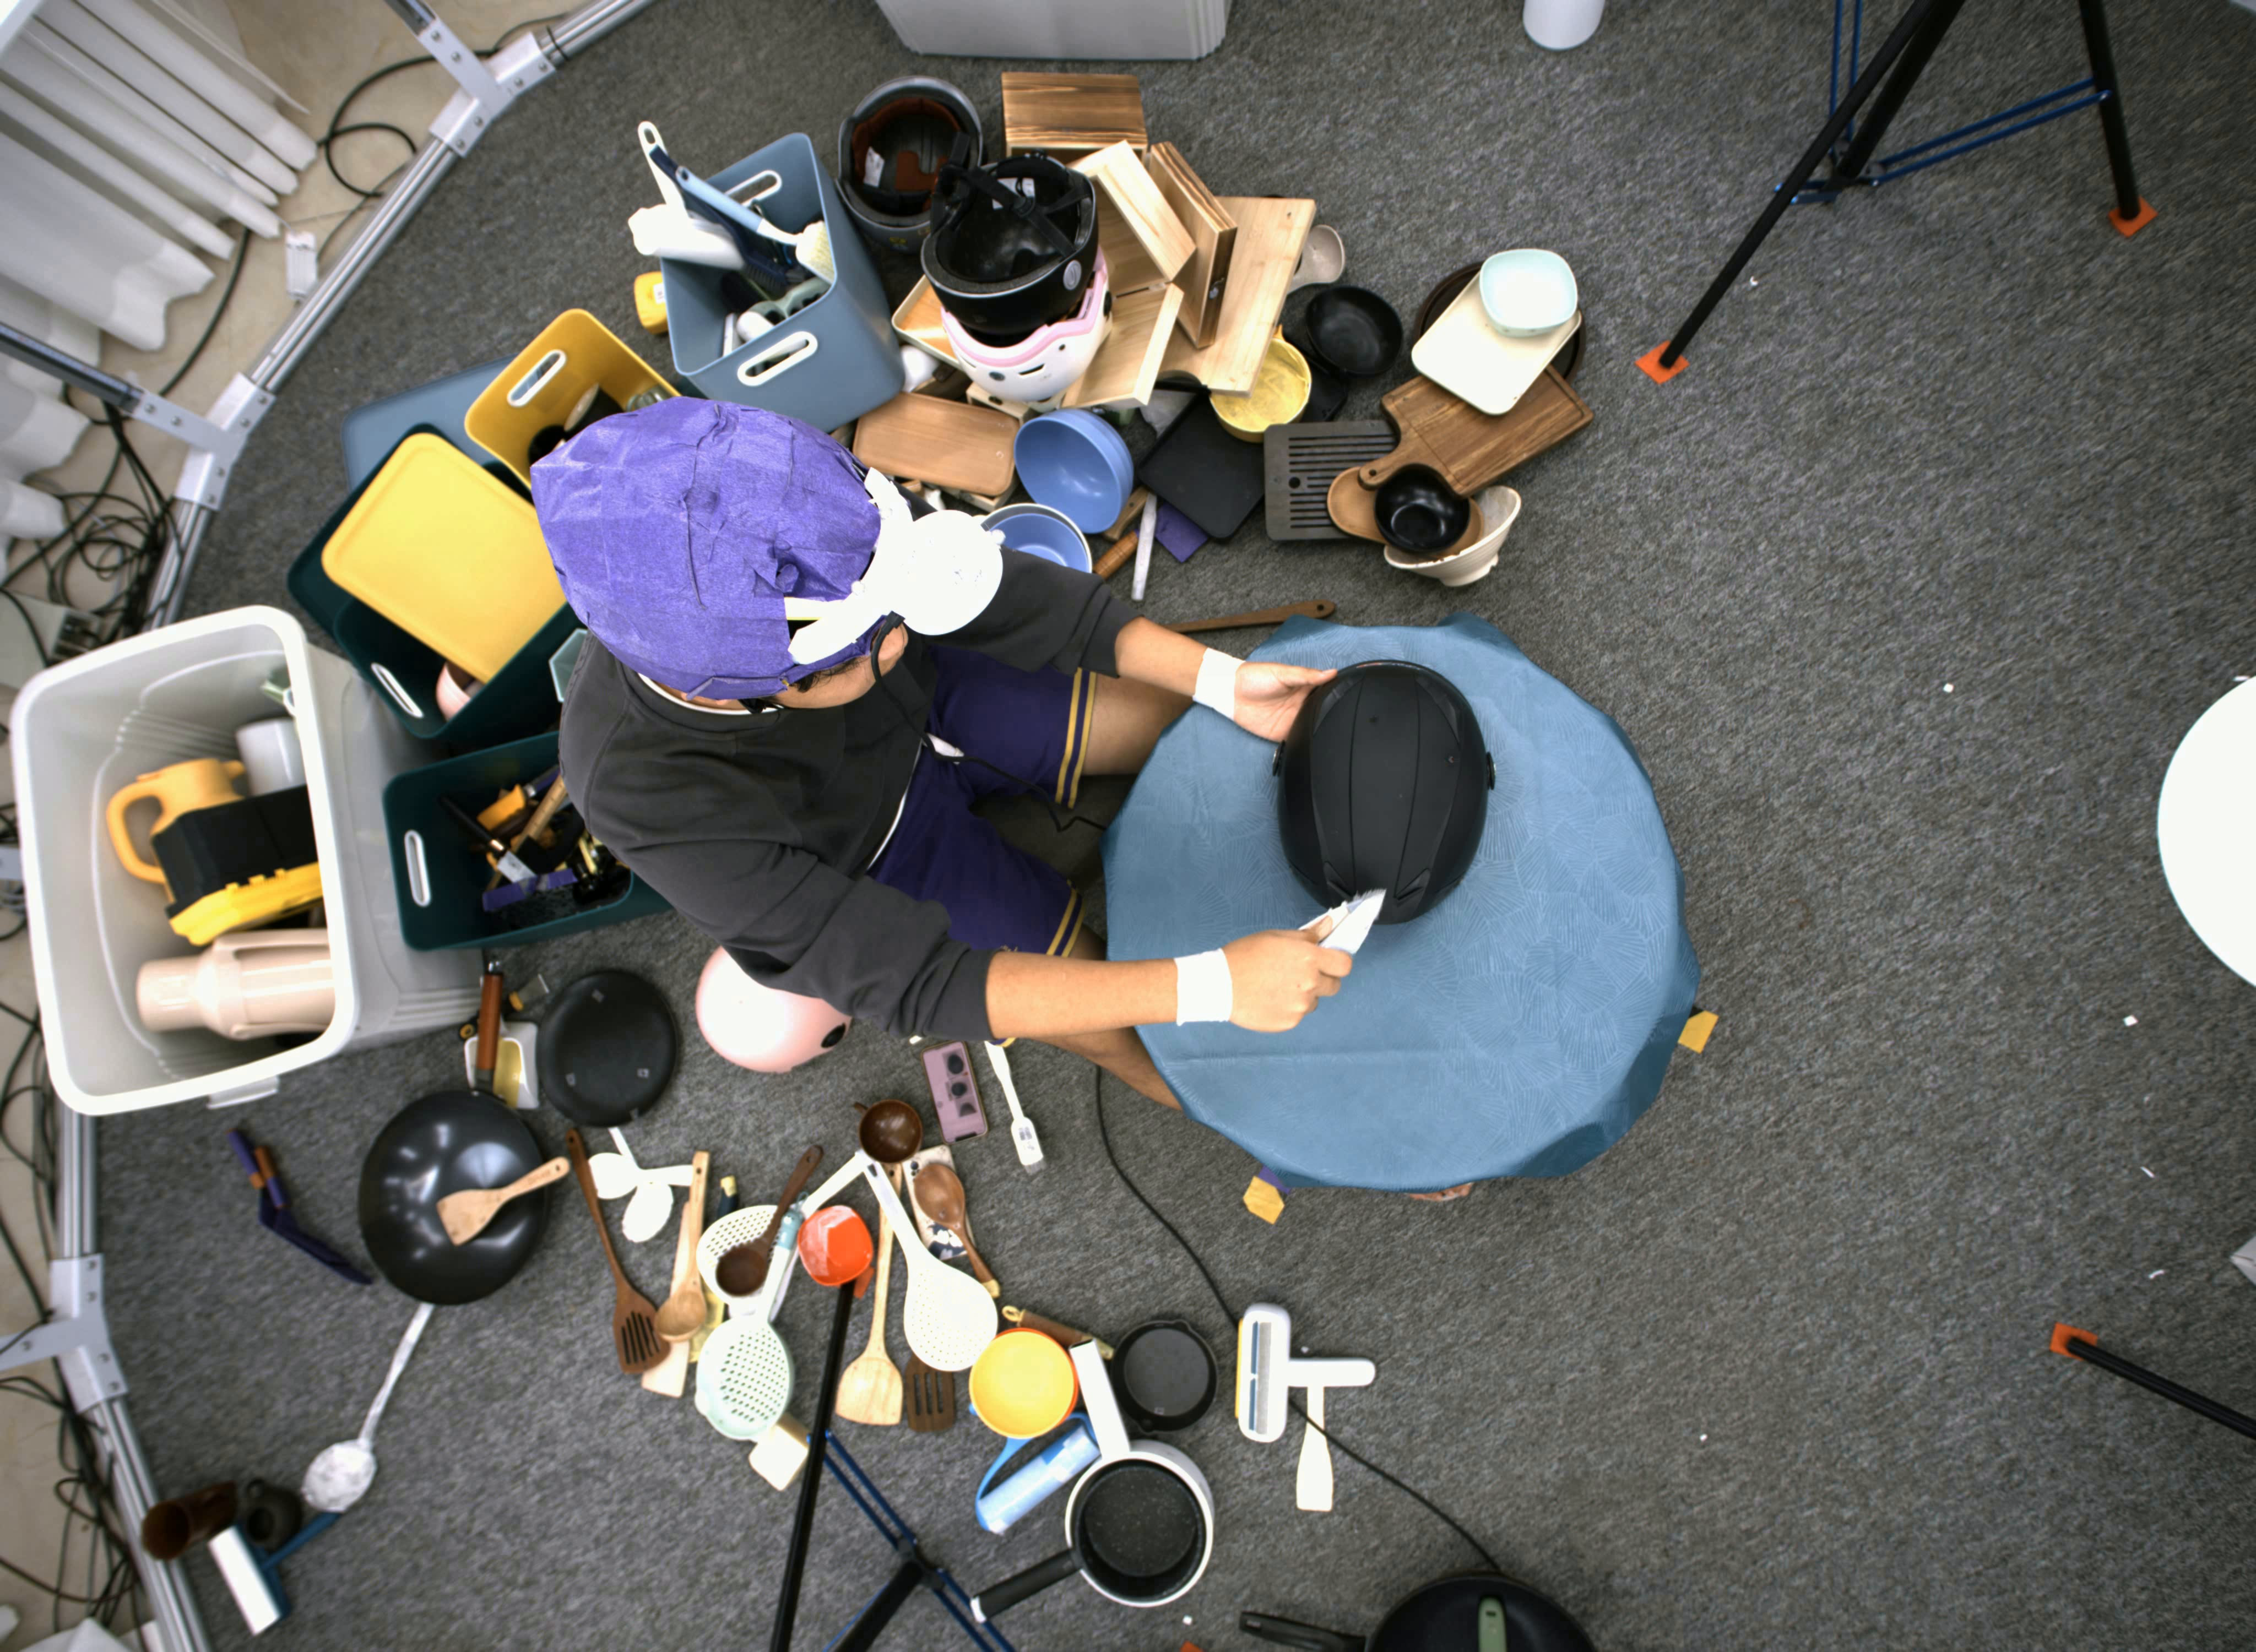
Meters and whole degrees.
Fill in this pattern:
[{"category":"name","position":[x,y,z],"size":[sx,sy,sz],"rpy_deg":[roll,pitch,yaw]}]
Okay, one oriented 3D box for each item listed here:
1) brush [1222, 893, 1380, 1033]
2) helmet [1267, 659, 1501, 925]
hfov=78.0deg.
[{"category":"brush","position":[0.165,0.120,1.263],"size":[0.176,0.094,0.061],"rpy_deg":[-40,89,4]},{"category":"helmet","position":[0.258,-0.039,1.387],"size":[0.247,0.172,0.277],"rpy_deg":[6,92,10]}]
